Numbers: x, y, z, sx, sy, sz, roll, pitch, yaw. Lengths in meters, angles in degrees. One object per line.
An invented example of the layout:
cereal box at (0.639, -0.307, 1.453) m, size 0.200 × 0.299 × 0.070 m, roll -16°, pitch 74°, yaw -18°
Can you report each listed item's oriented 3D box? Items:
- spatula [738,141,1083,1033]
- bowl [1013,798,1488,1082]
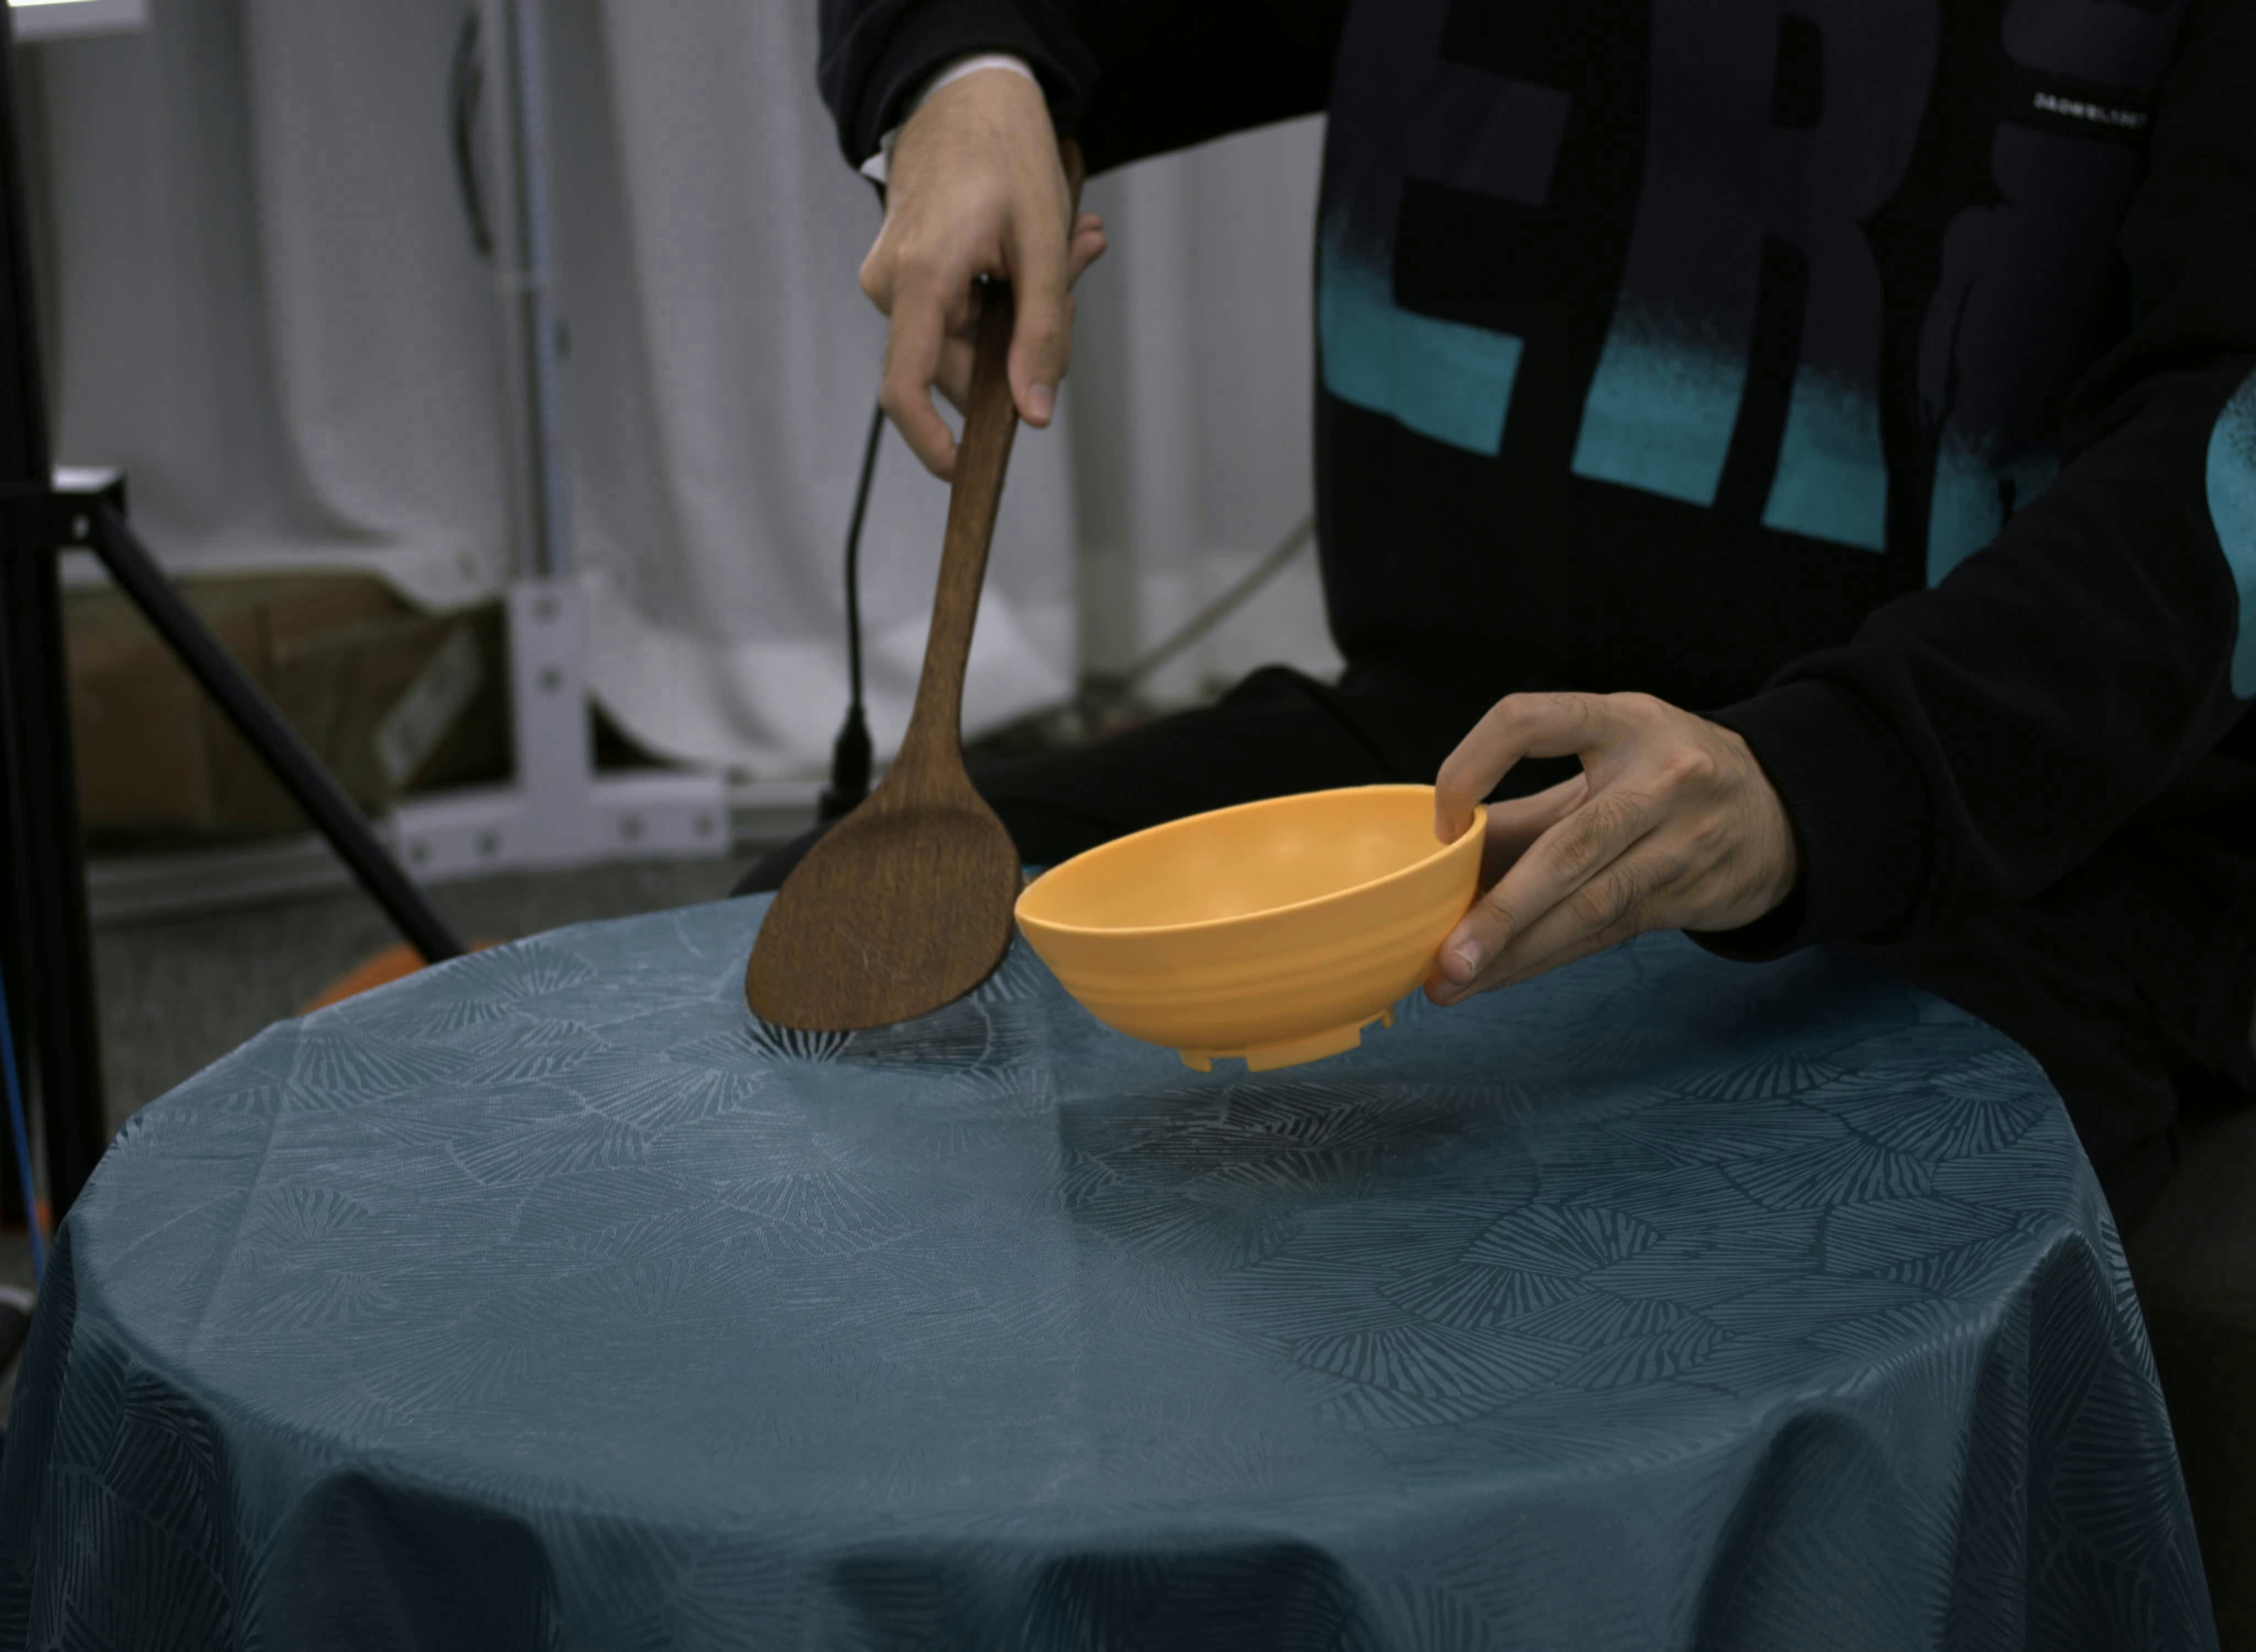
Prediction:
spatula at (-0.056, -0.090, 1.799) m, size 0.097 × 0.015 × 0.388 m, roll -9°, pitch 50°, yaw 26°
bowl at (0.041, 0.039, 1.600) m, size 0.145 × 0.060 × 0.146 m, roll -9°, pitch 13°, yaw 1°
